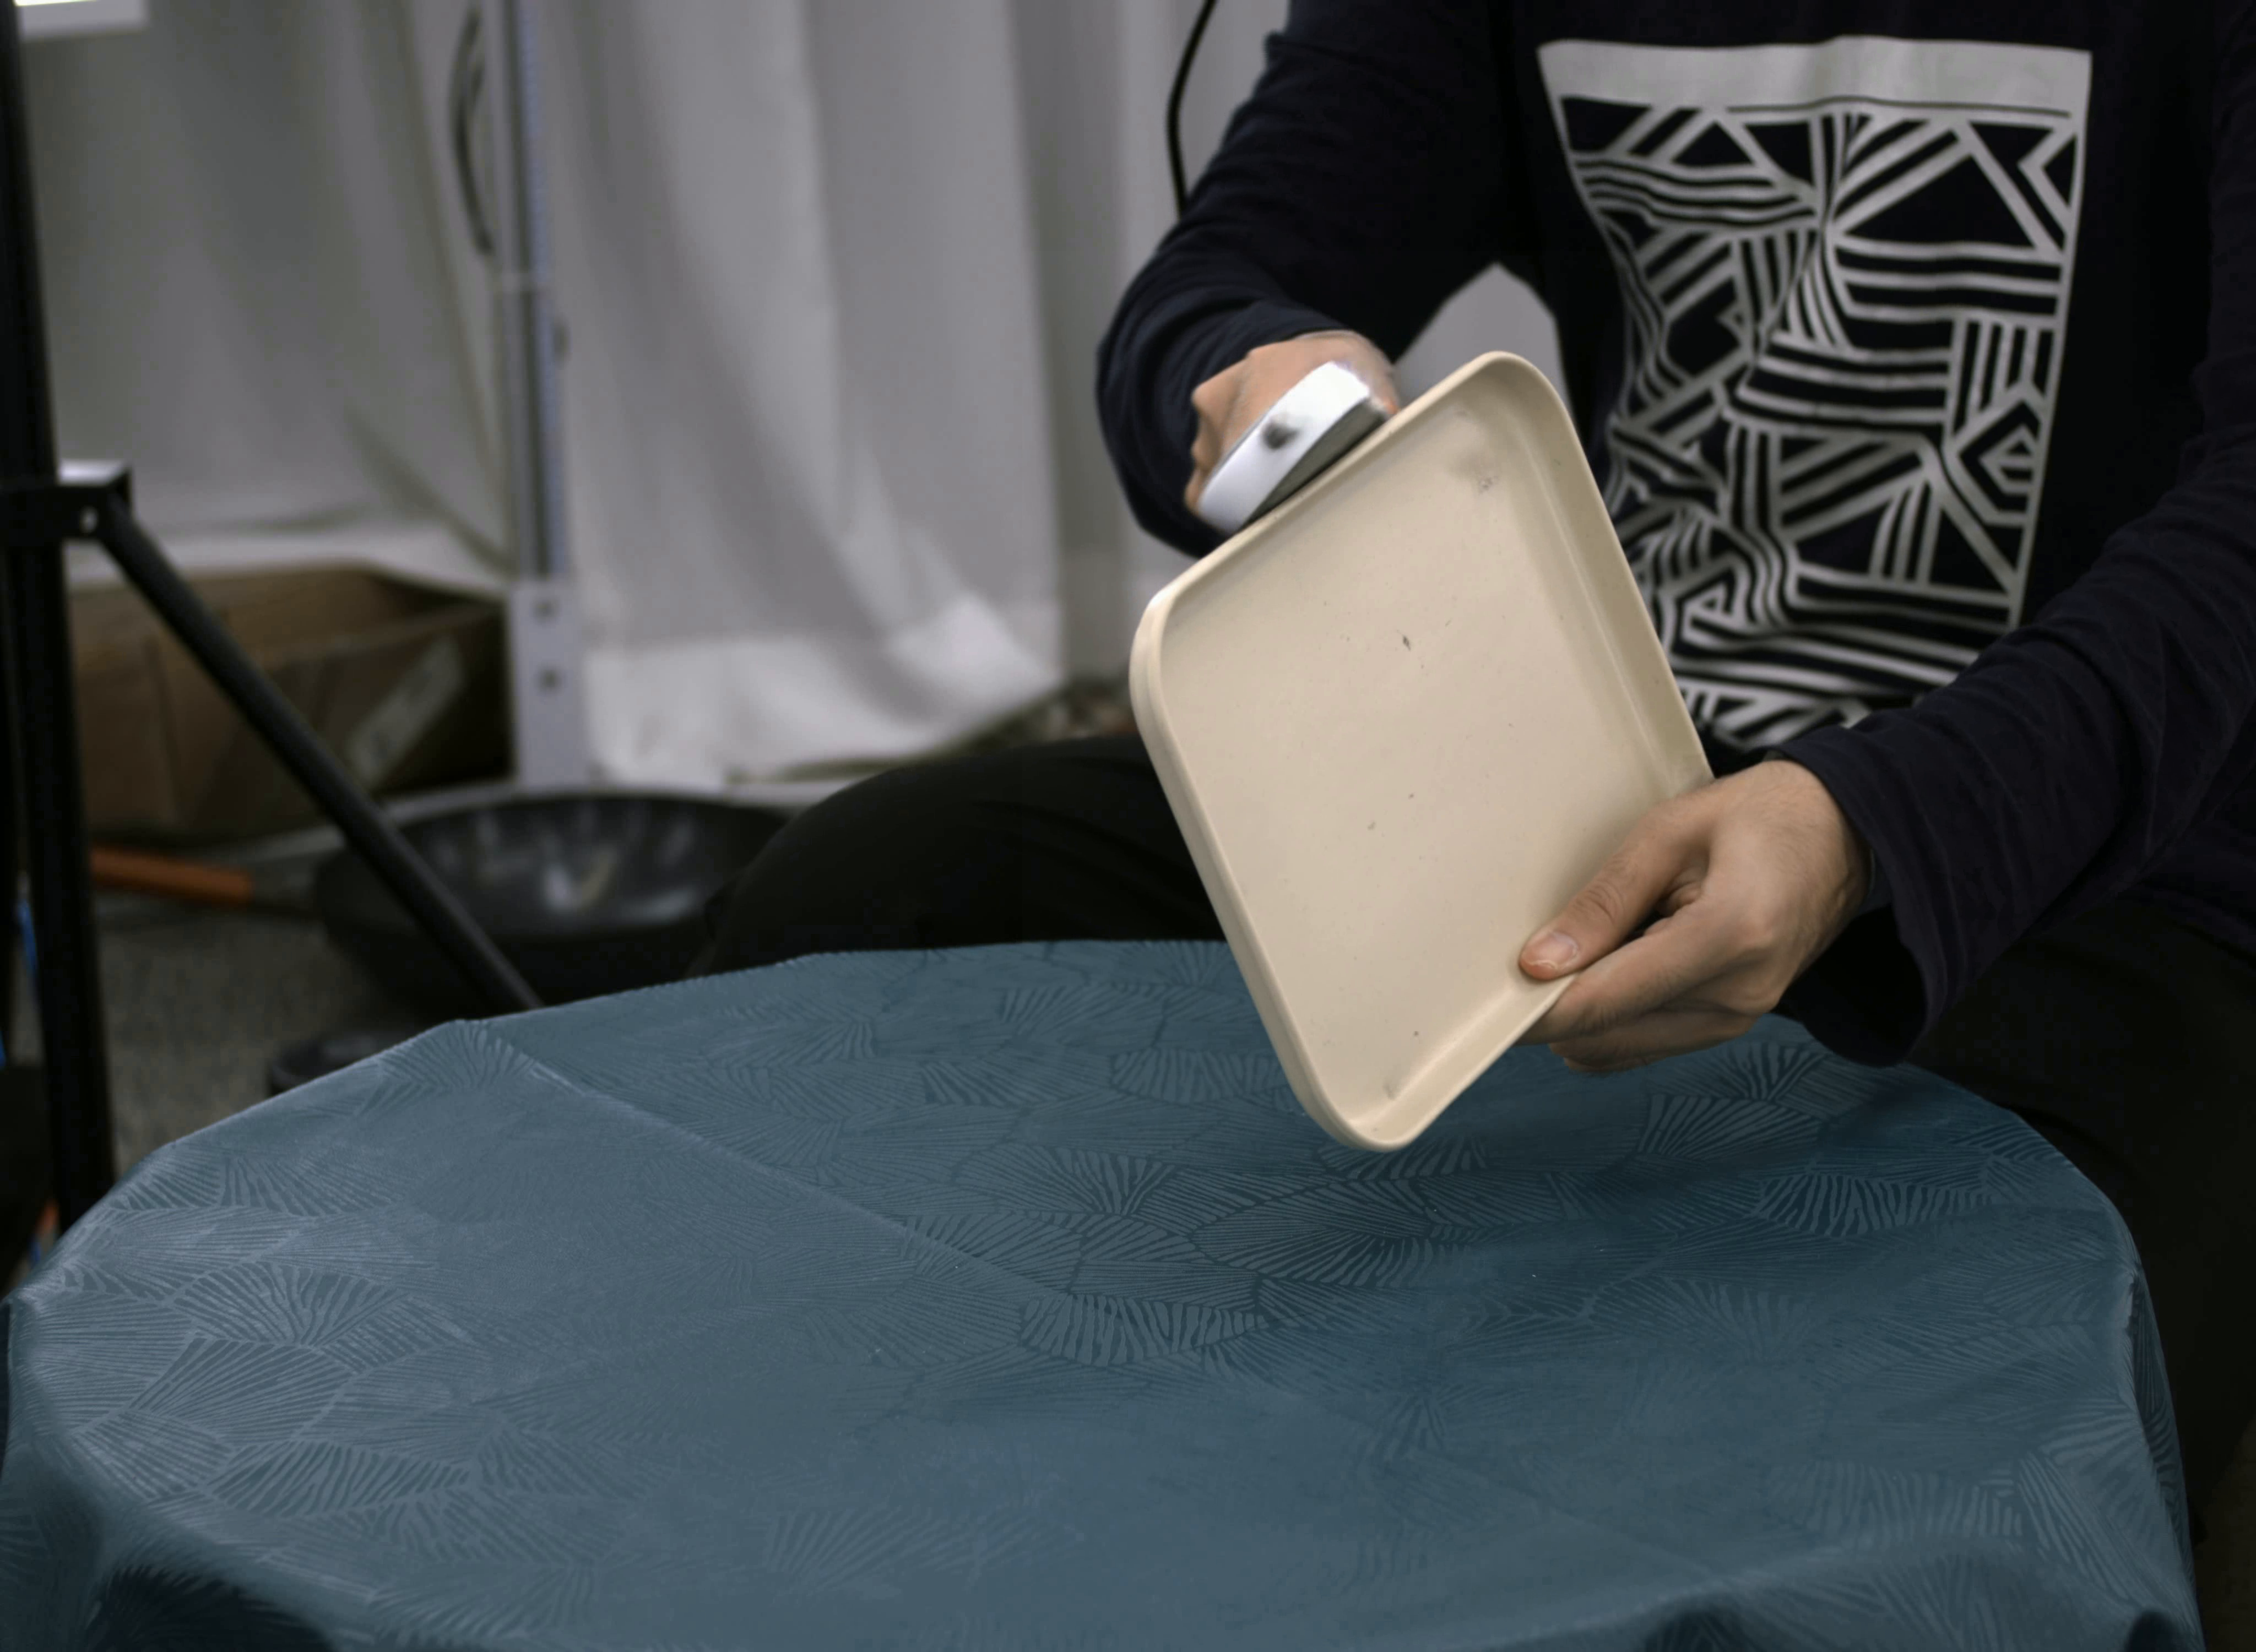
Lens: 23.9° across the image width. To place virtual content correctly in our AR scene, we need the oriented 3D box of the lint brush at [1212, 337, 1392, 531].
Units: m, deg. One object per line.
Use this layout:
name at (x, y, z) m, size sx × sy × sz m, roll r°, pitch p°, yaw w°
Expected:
lint brush at (0.058, -0.112, 1.602) m, size 0.021 × 0.060 × 0.307 m, roll 39°, pitch 4°, yaw 4°

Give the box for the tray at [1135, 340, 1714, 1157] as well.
tray at (0.086, -0.024, 1.499) m, size 0.018 × 0.170 × 0.236 m, roll -14°, pitch 16°, yaw 38°
